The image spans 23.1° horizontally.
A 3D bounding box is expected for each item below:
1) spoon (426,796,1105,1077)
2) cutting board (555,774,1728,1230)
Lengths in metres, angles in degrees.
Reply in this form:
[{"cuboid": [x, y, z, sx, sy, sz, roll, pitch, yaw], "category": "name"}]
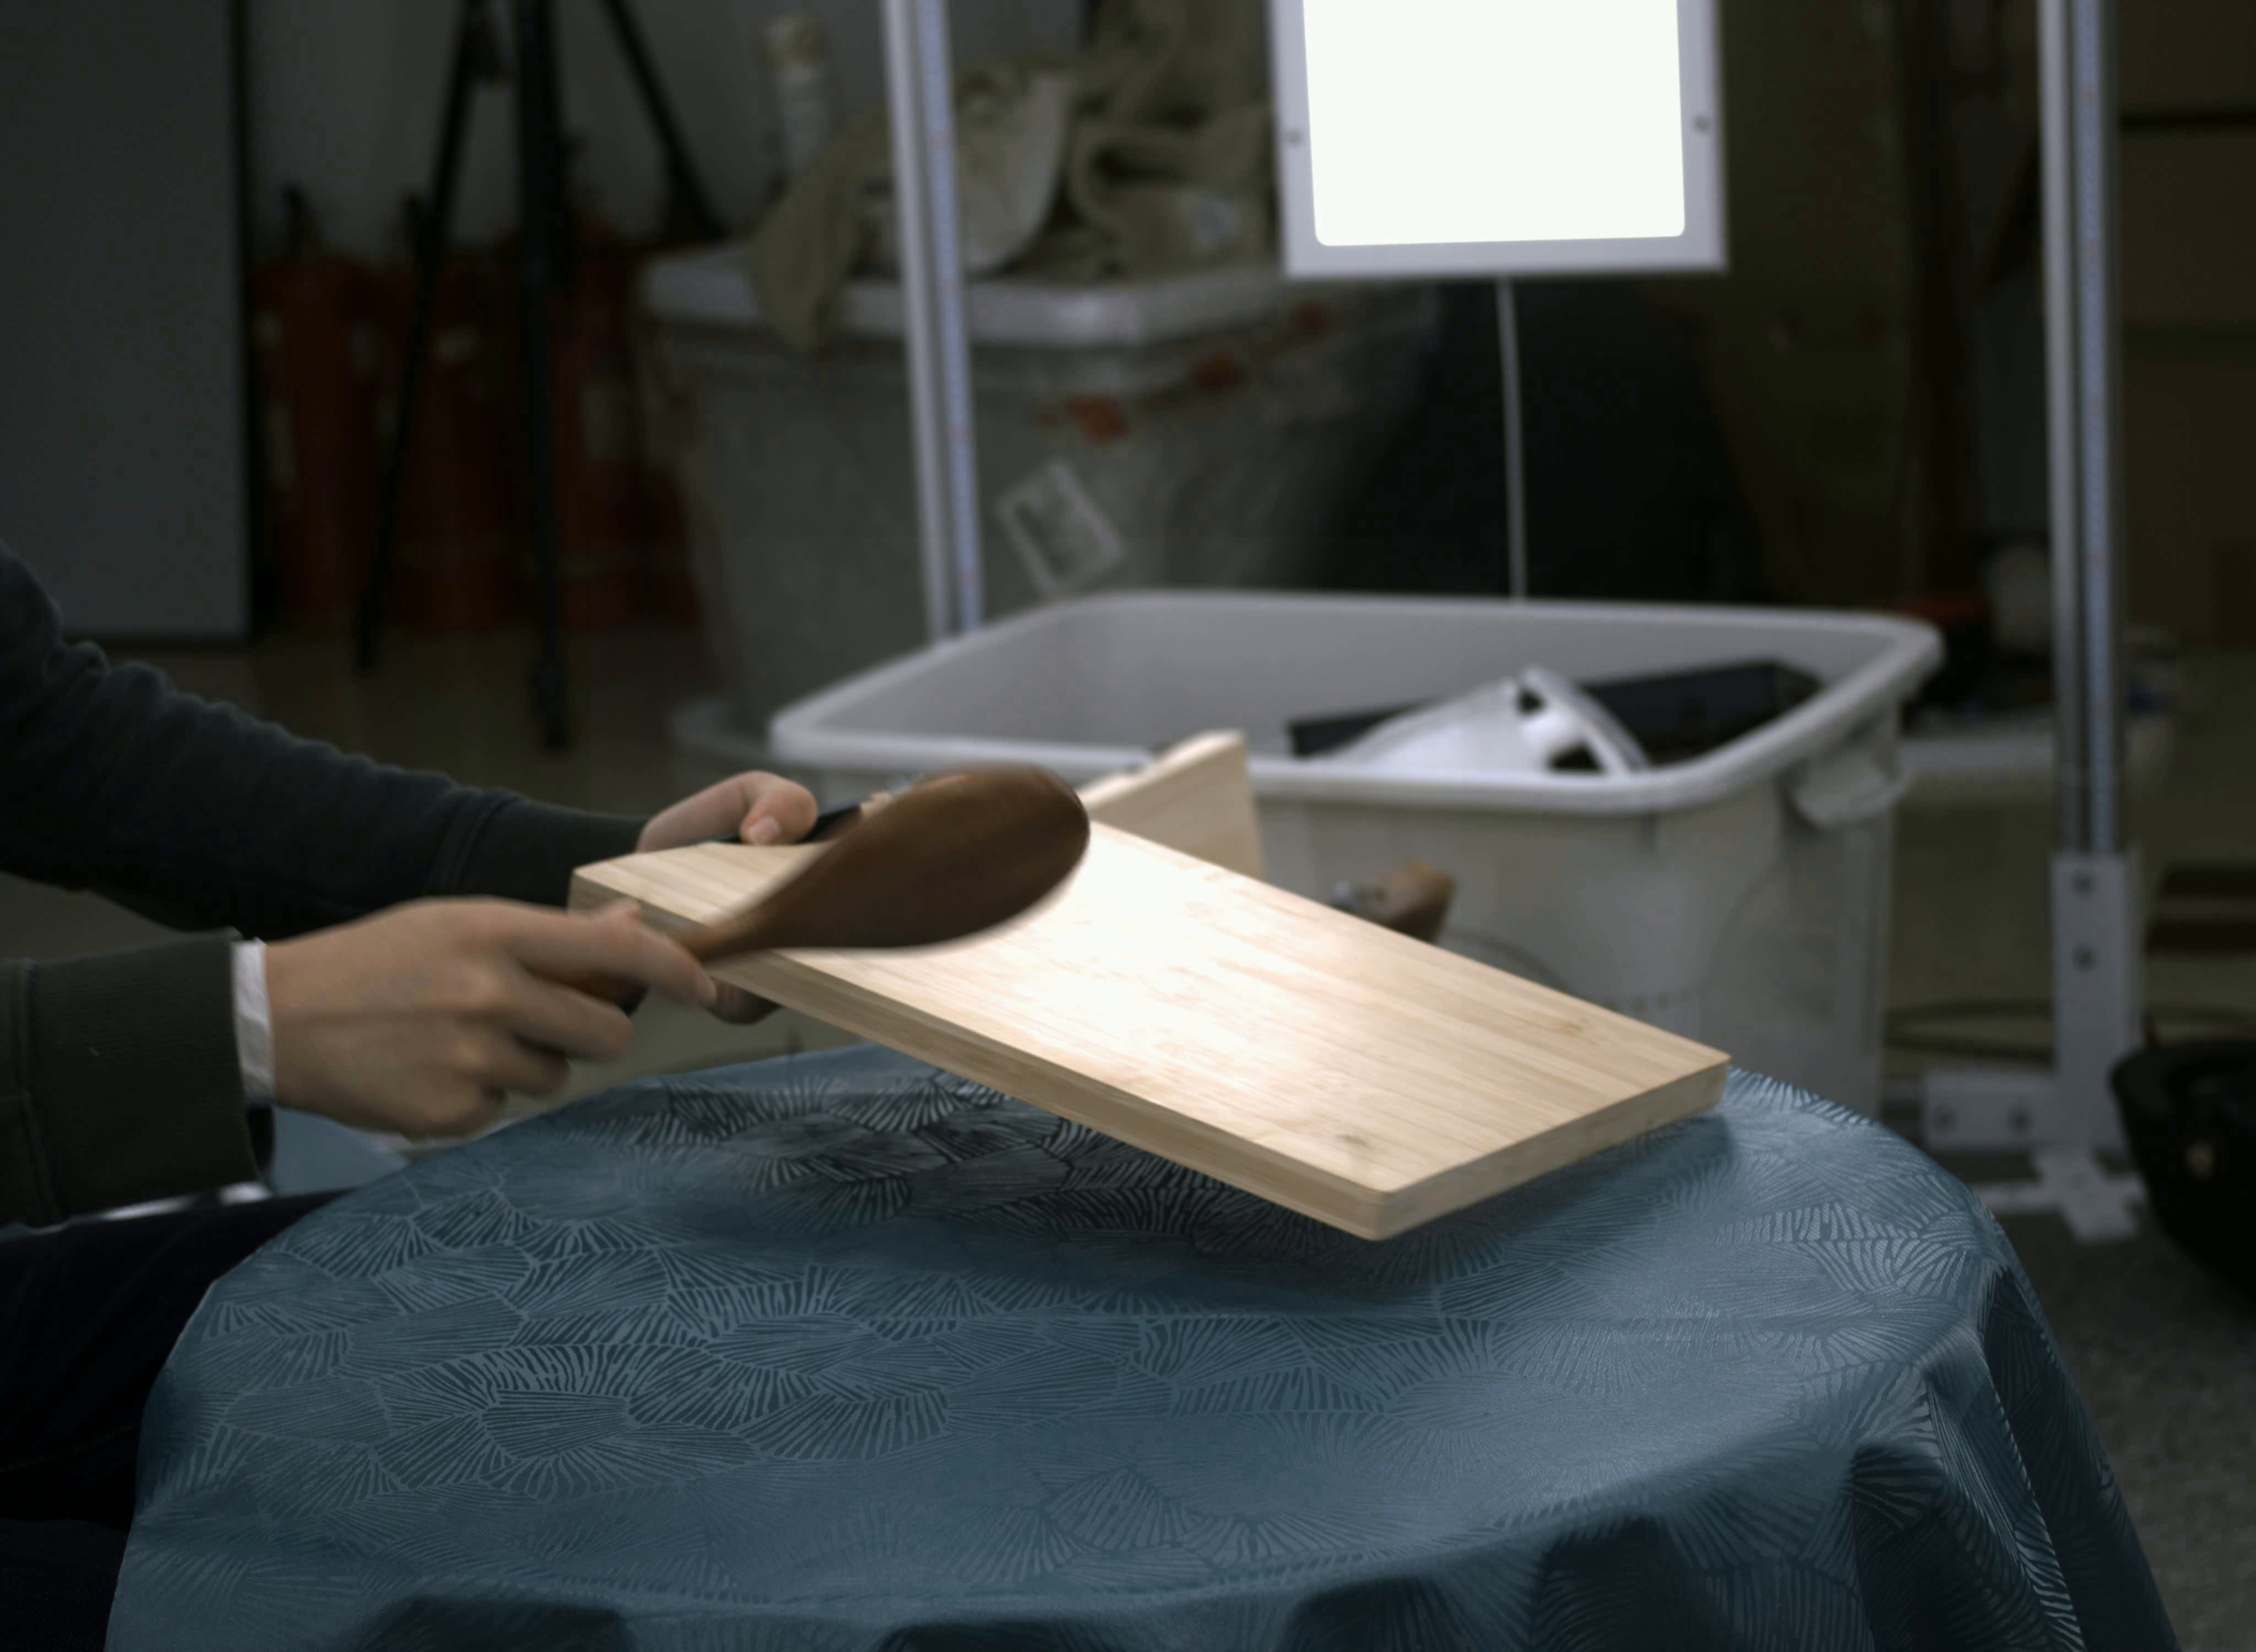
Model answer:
[{"cuboid": [-0.109, 0.038, 1.681, 0.215, 0.075, 0.017, -16, 56, 0], "category": "spoon"}, {"cuboid": [0.006, 0.056, 1.928, 0.354, 0.024, 0.245, 19, 18, 30], "category": "cutting board"}]
